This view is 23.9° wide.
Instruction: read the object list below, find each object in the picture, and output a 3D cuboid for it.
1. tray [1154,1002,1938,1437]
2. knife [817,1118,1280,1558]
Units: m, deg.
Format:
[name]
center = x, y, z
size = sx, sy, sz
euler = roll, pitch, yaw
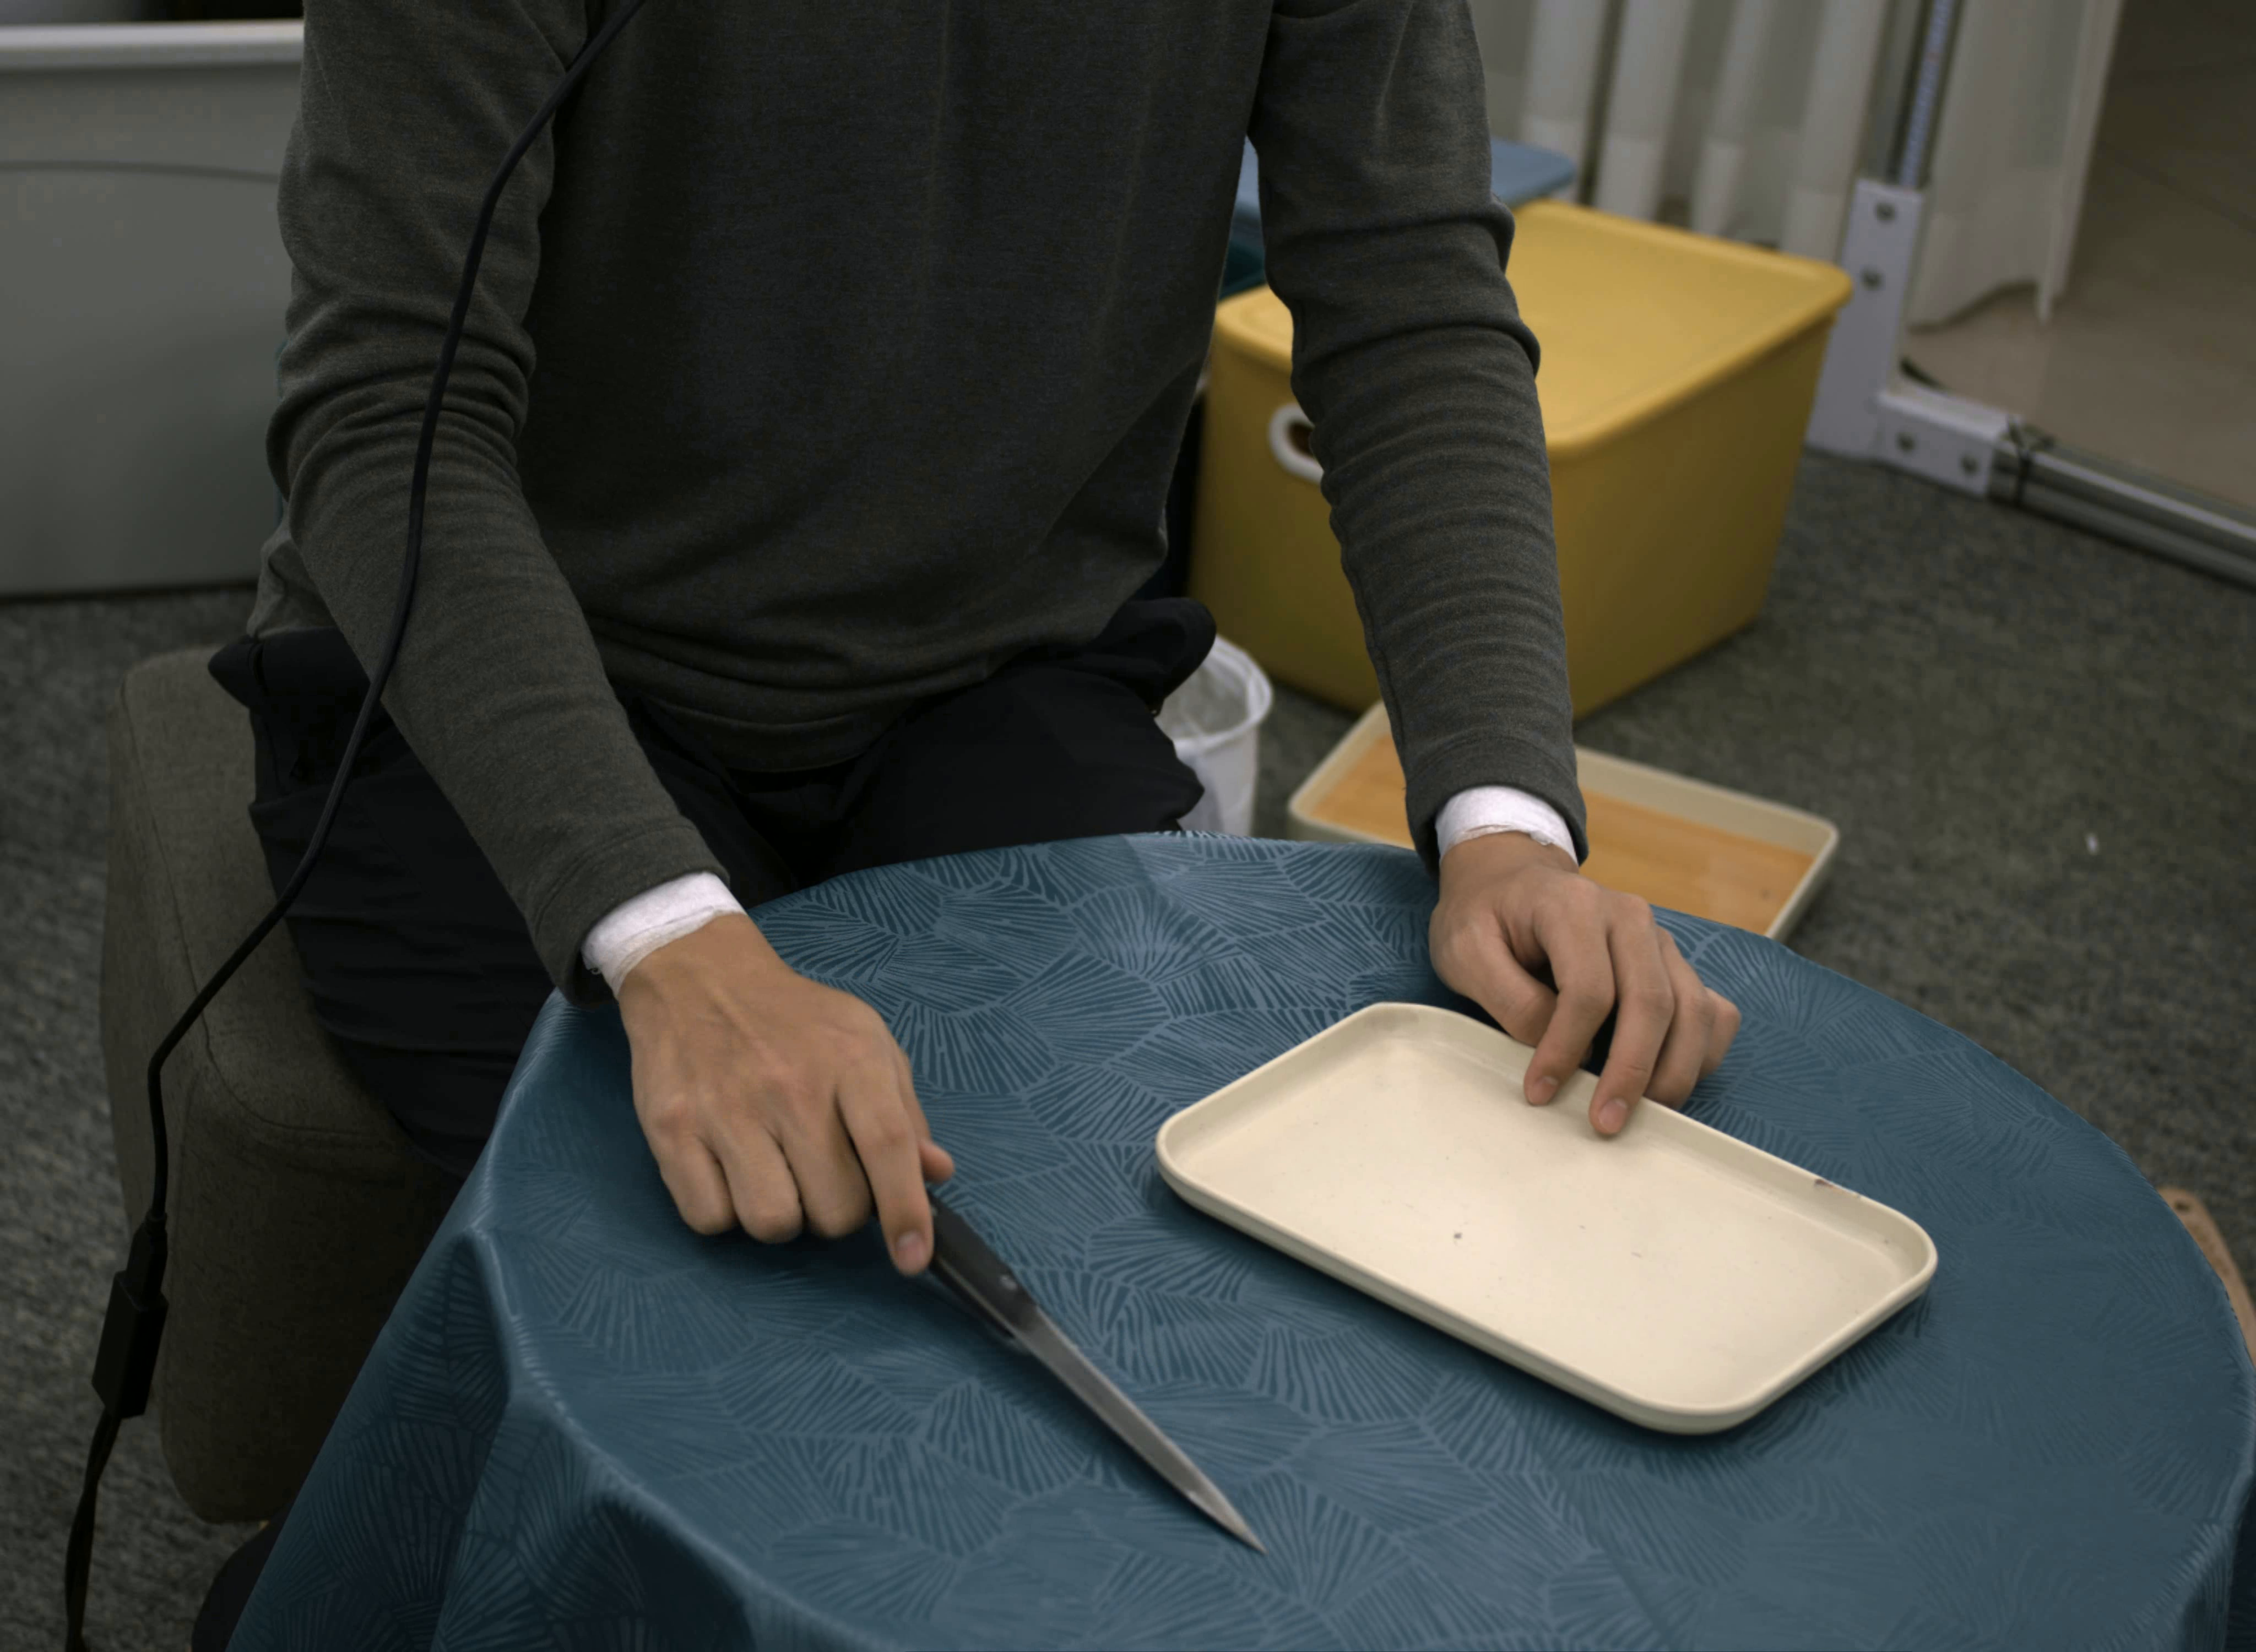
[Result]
[tray]
center = 0.140, 0.132, 1.803
size = 0.241, 0.017, 0.170
euler = 24, 32, 31
[knife]
center = -0.028, 0.162, 1.694
size = 0.024, 0.016, 0.240
euler = 10, 24, -48
